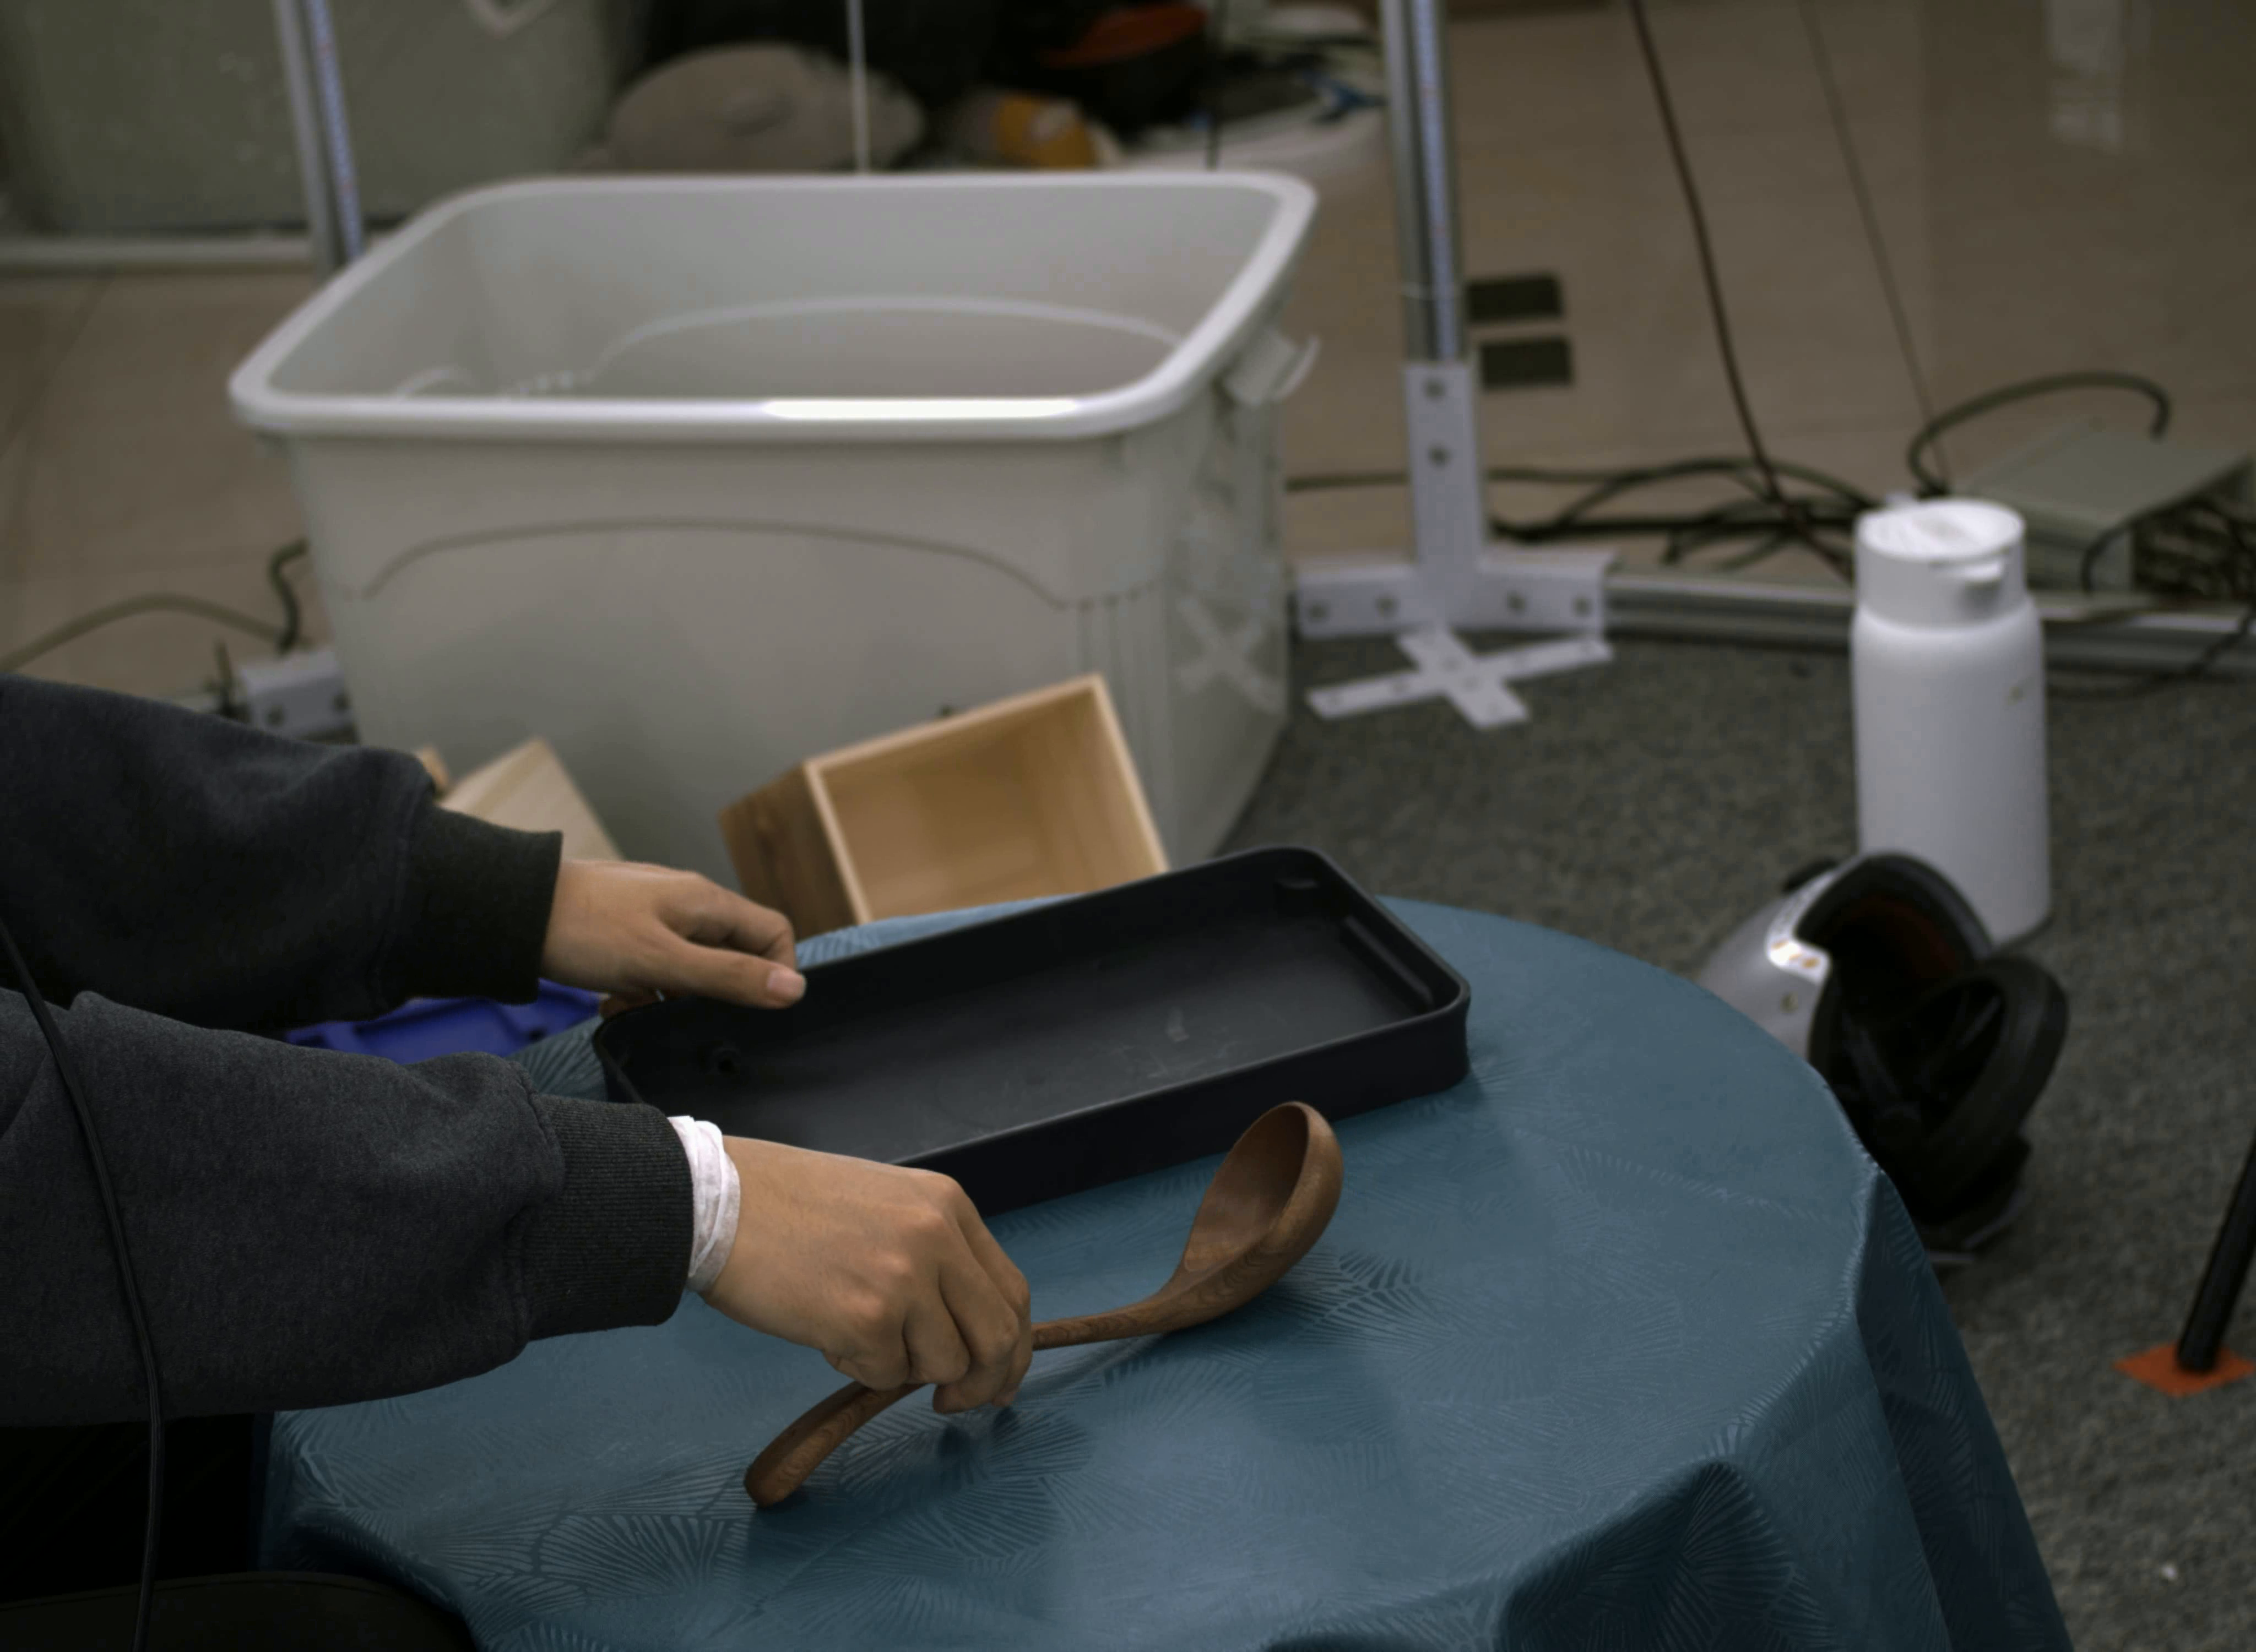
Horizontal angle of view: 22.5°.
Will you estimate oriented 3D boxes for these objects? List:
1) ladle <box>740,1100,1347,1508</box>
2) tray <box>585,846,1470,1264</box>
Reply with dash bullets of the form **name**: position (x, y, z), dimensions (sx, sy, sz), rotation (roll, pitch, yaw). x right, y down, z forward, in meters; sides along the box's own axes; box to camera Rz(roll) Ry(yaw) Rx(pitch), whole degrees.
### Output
- **ladle**: position (-0.032, 0.167, 2.018), dimensions (0.259, 0.065, 0.077), rotation (-20, 2, -26)
- **tray**: position (-0.040, 0.086, 2.221), dimensions (0.317, 0.037, 0.182), rotation (-13, 26, -17)
